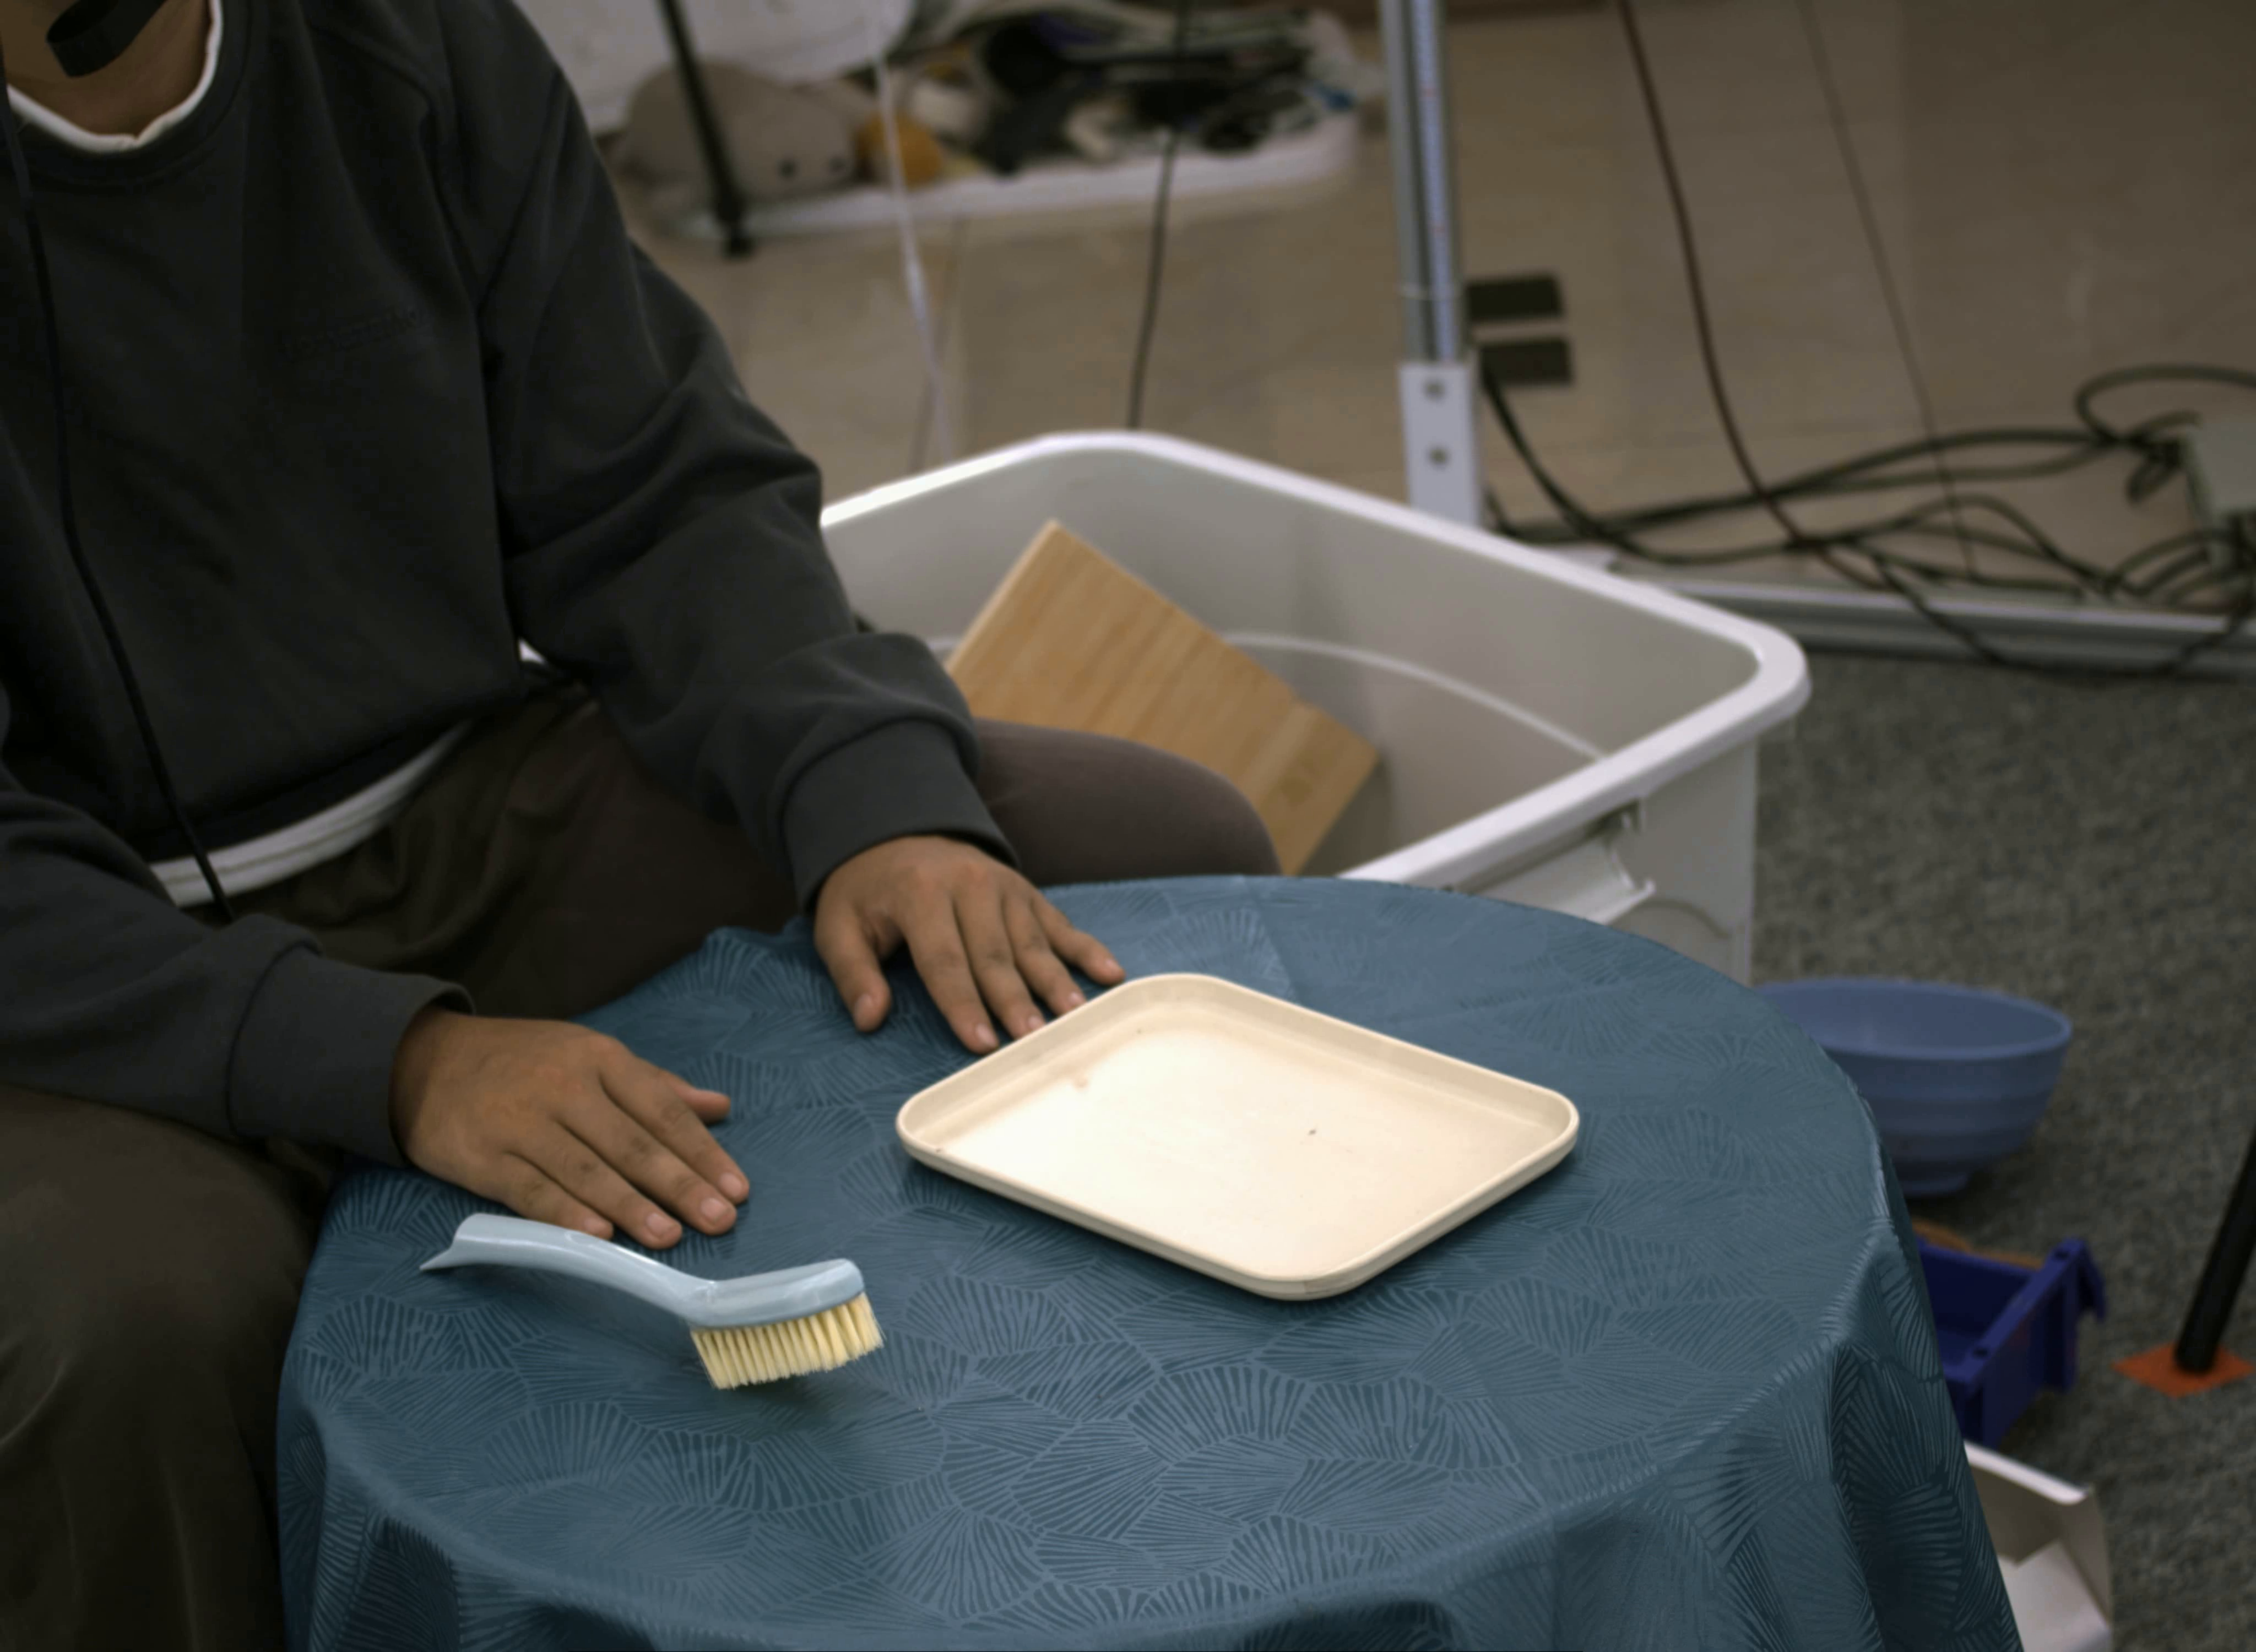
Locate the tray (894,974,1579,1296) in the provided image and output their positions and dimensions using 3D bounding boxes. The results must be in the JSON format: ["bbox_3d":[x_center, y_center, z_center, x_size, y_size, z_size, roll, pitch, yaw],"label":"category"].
[{"bbox_3d":[0.040,0.117,2.164,0.170,0.018,0.238,-26,31,-38],"label":"tray"}]

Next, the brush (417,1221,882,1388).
[{"bbox_3d":[-0.179,0.174,2.078,0.228,0.050,0.037,3,19,40],"label":"brush"}]
